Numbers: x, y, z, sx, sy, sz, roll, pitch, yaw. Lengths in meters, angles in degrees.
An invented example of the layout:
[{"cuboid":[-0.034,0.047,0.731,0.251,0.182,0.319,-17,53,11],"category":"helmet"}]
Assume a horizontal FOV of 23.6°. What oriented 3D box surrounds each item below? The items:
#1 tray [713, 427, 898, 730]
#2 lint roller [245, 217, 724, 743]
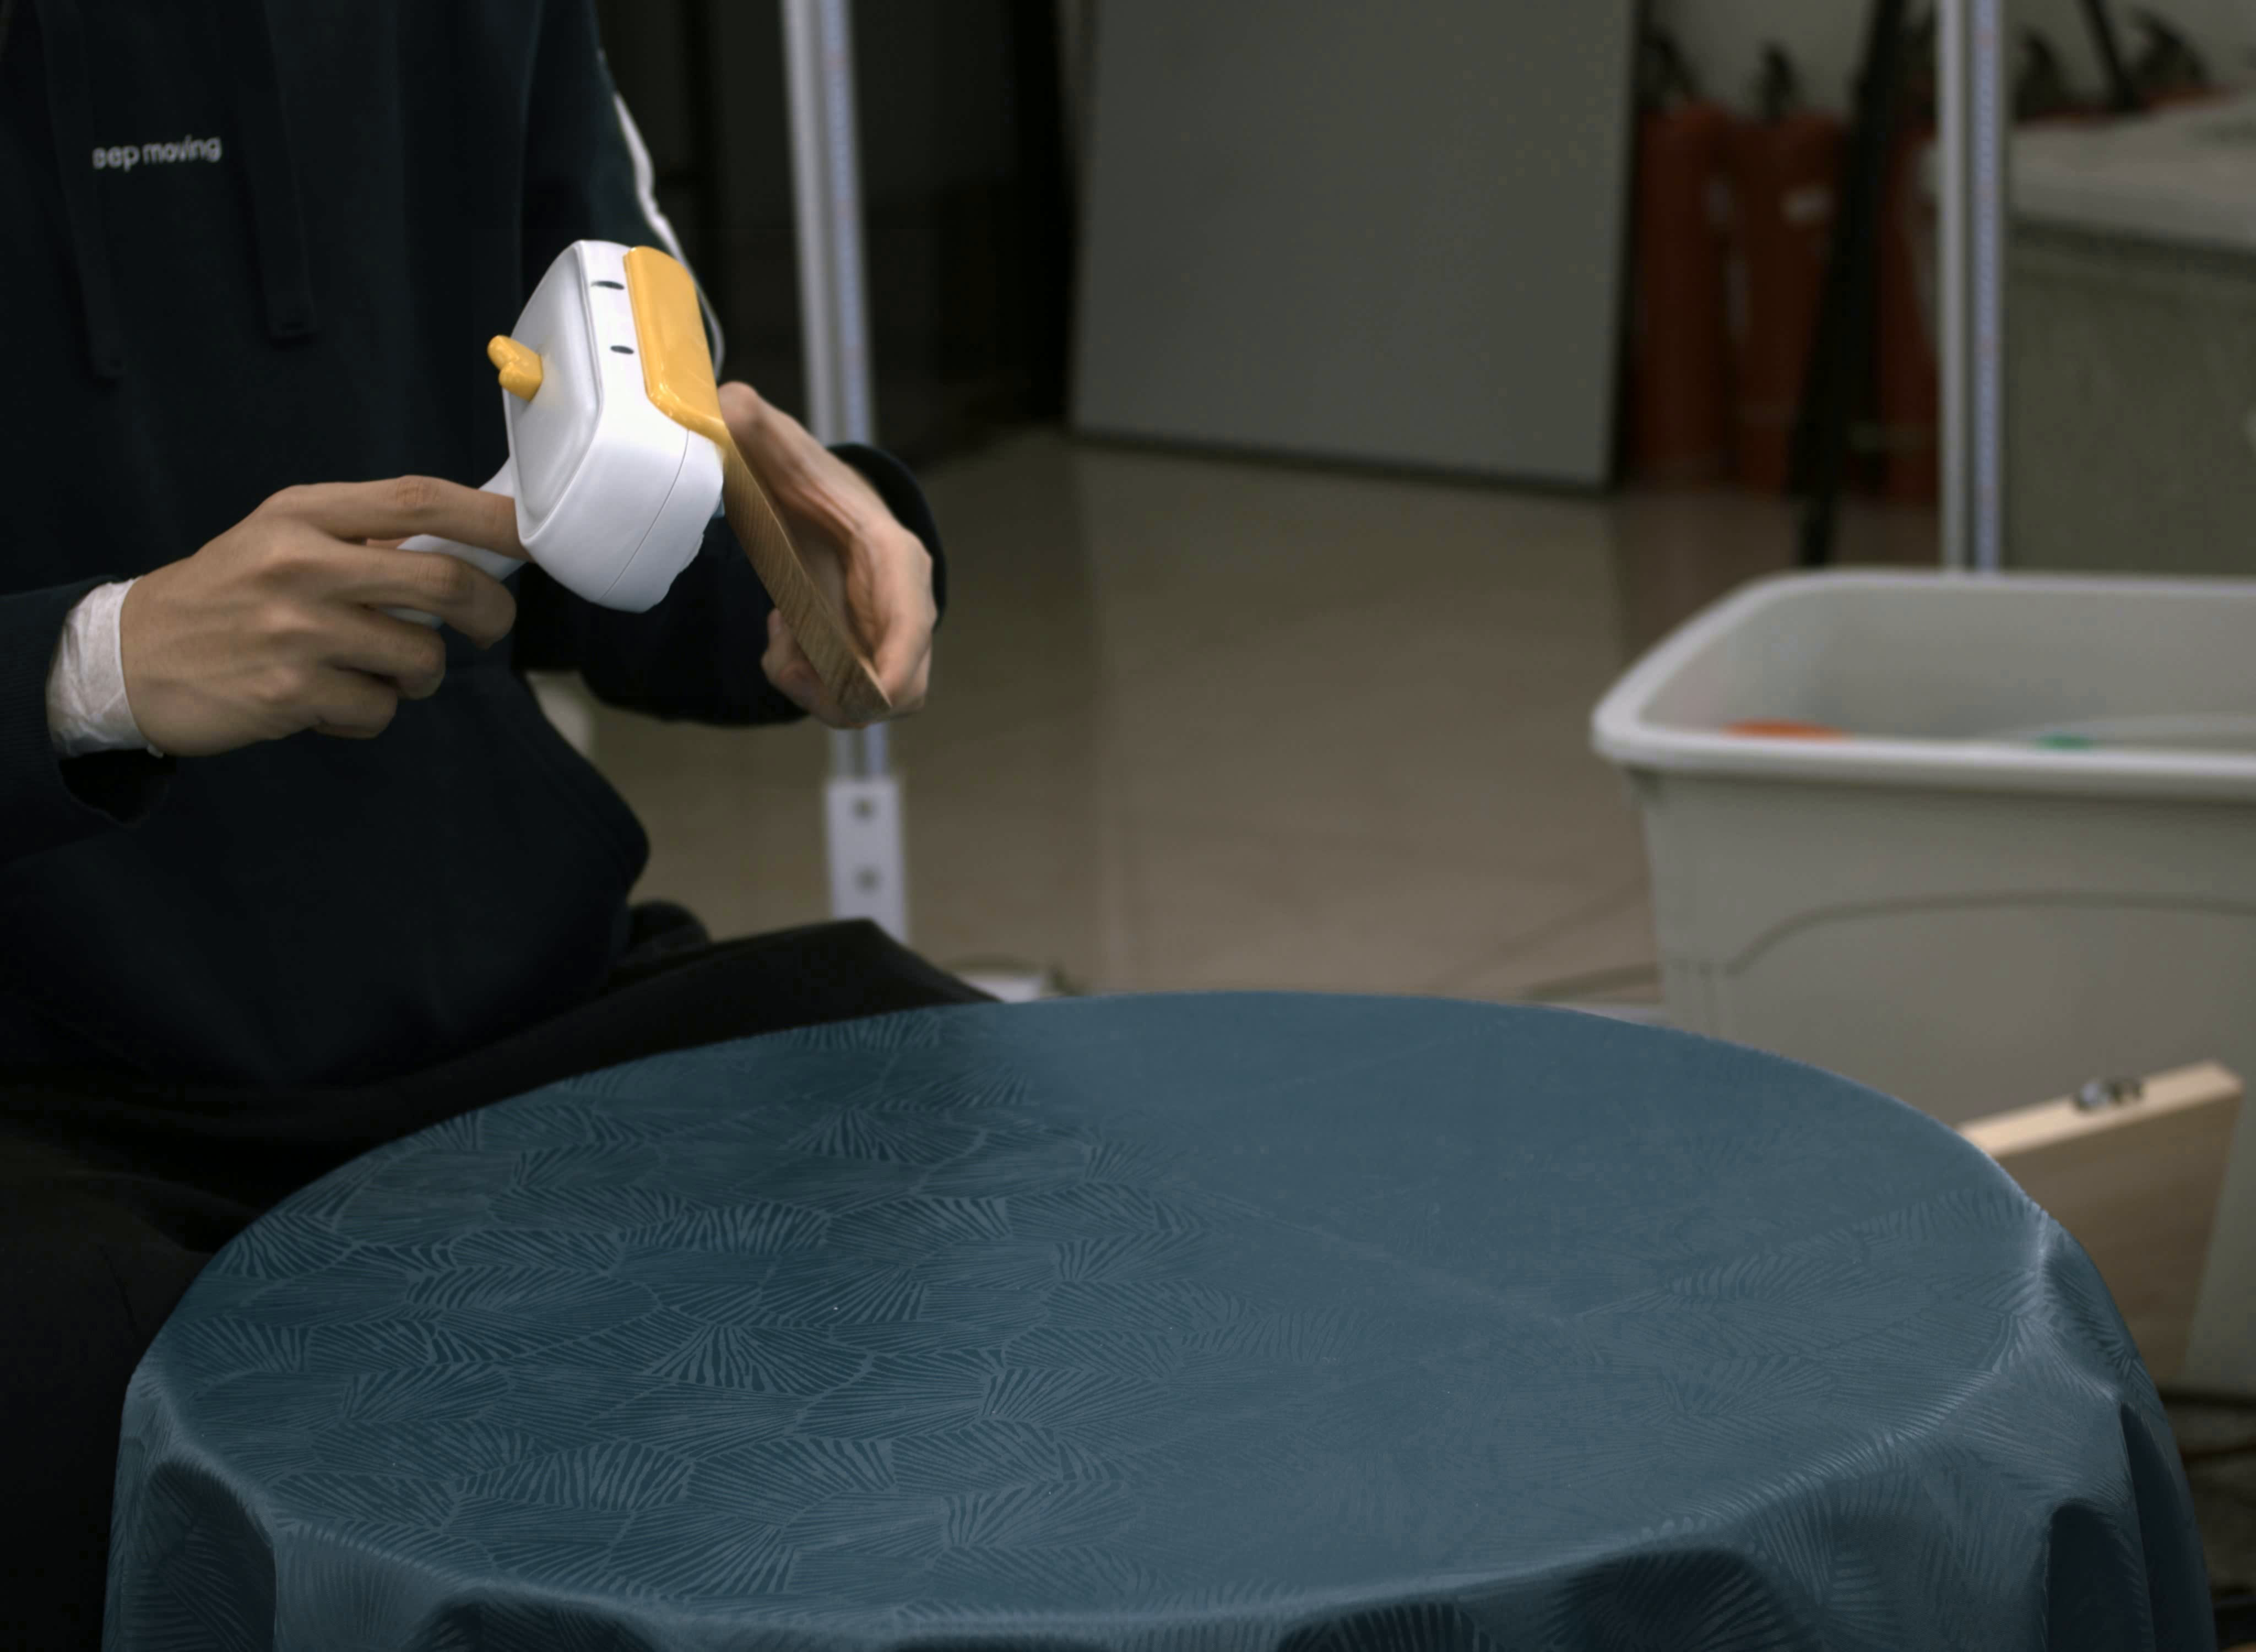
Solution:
[{"cuboid":[-0.113,-0.084,1.837,0.020,0.102,0.232,-31,9,0],"category":"tray"},{"cuboid":[-0.209,-0.097,1.758,0.073,0.193,0.194,33,14,-26],"category":"lint roller"}]
